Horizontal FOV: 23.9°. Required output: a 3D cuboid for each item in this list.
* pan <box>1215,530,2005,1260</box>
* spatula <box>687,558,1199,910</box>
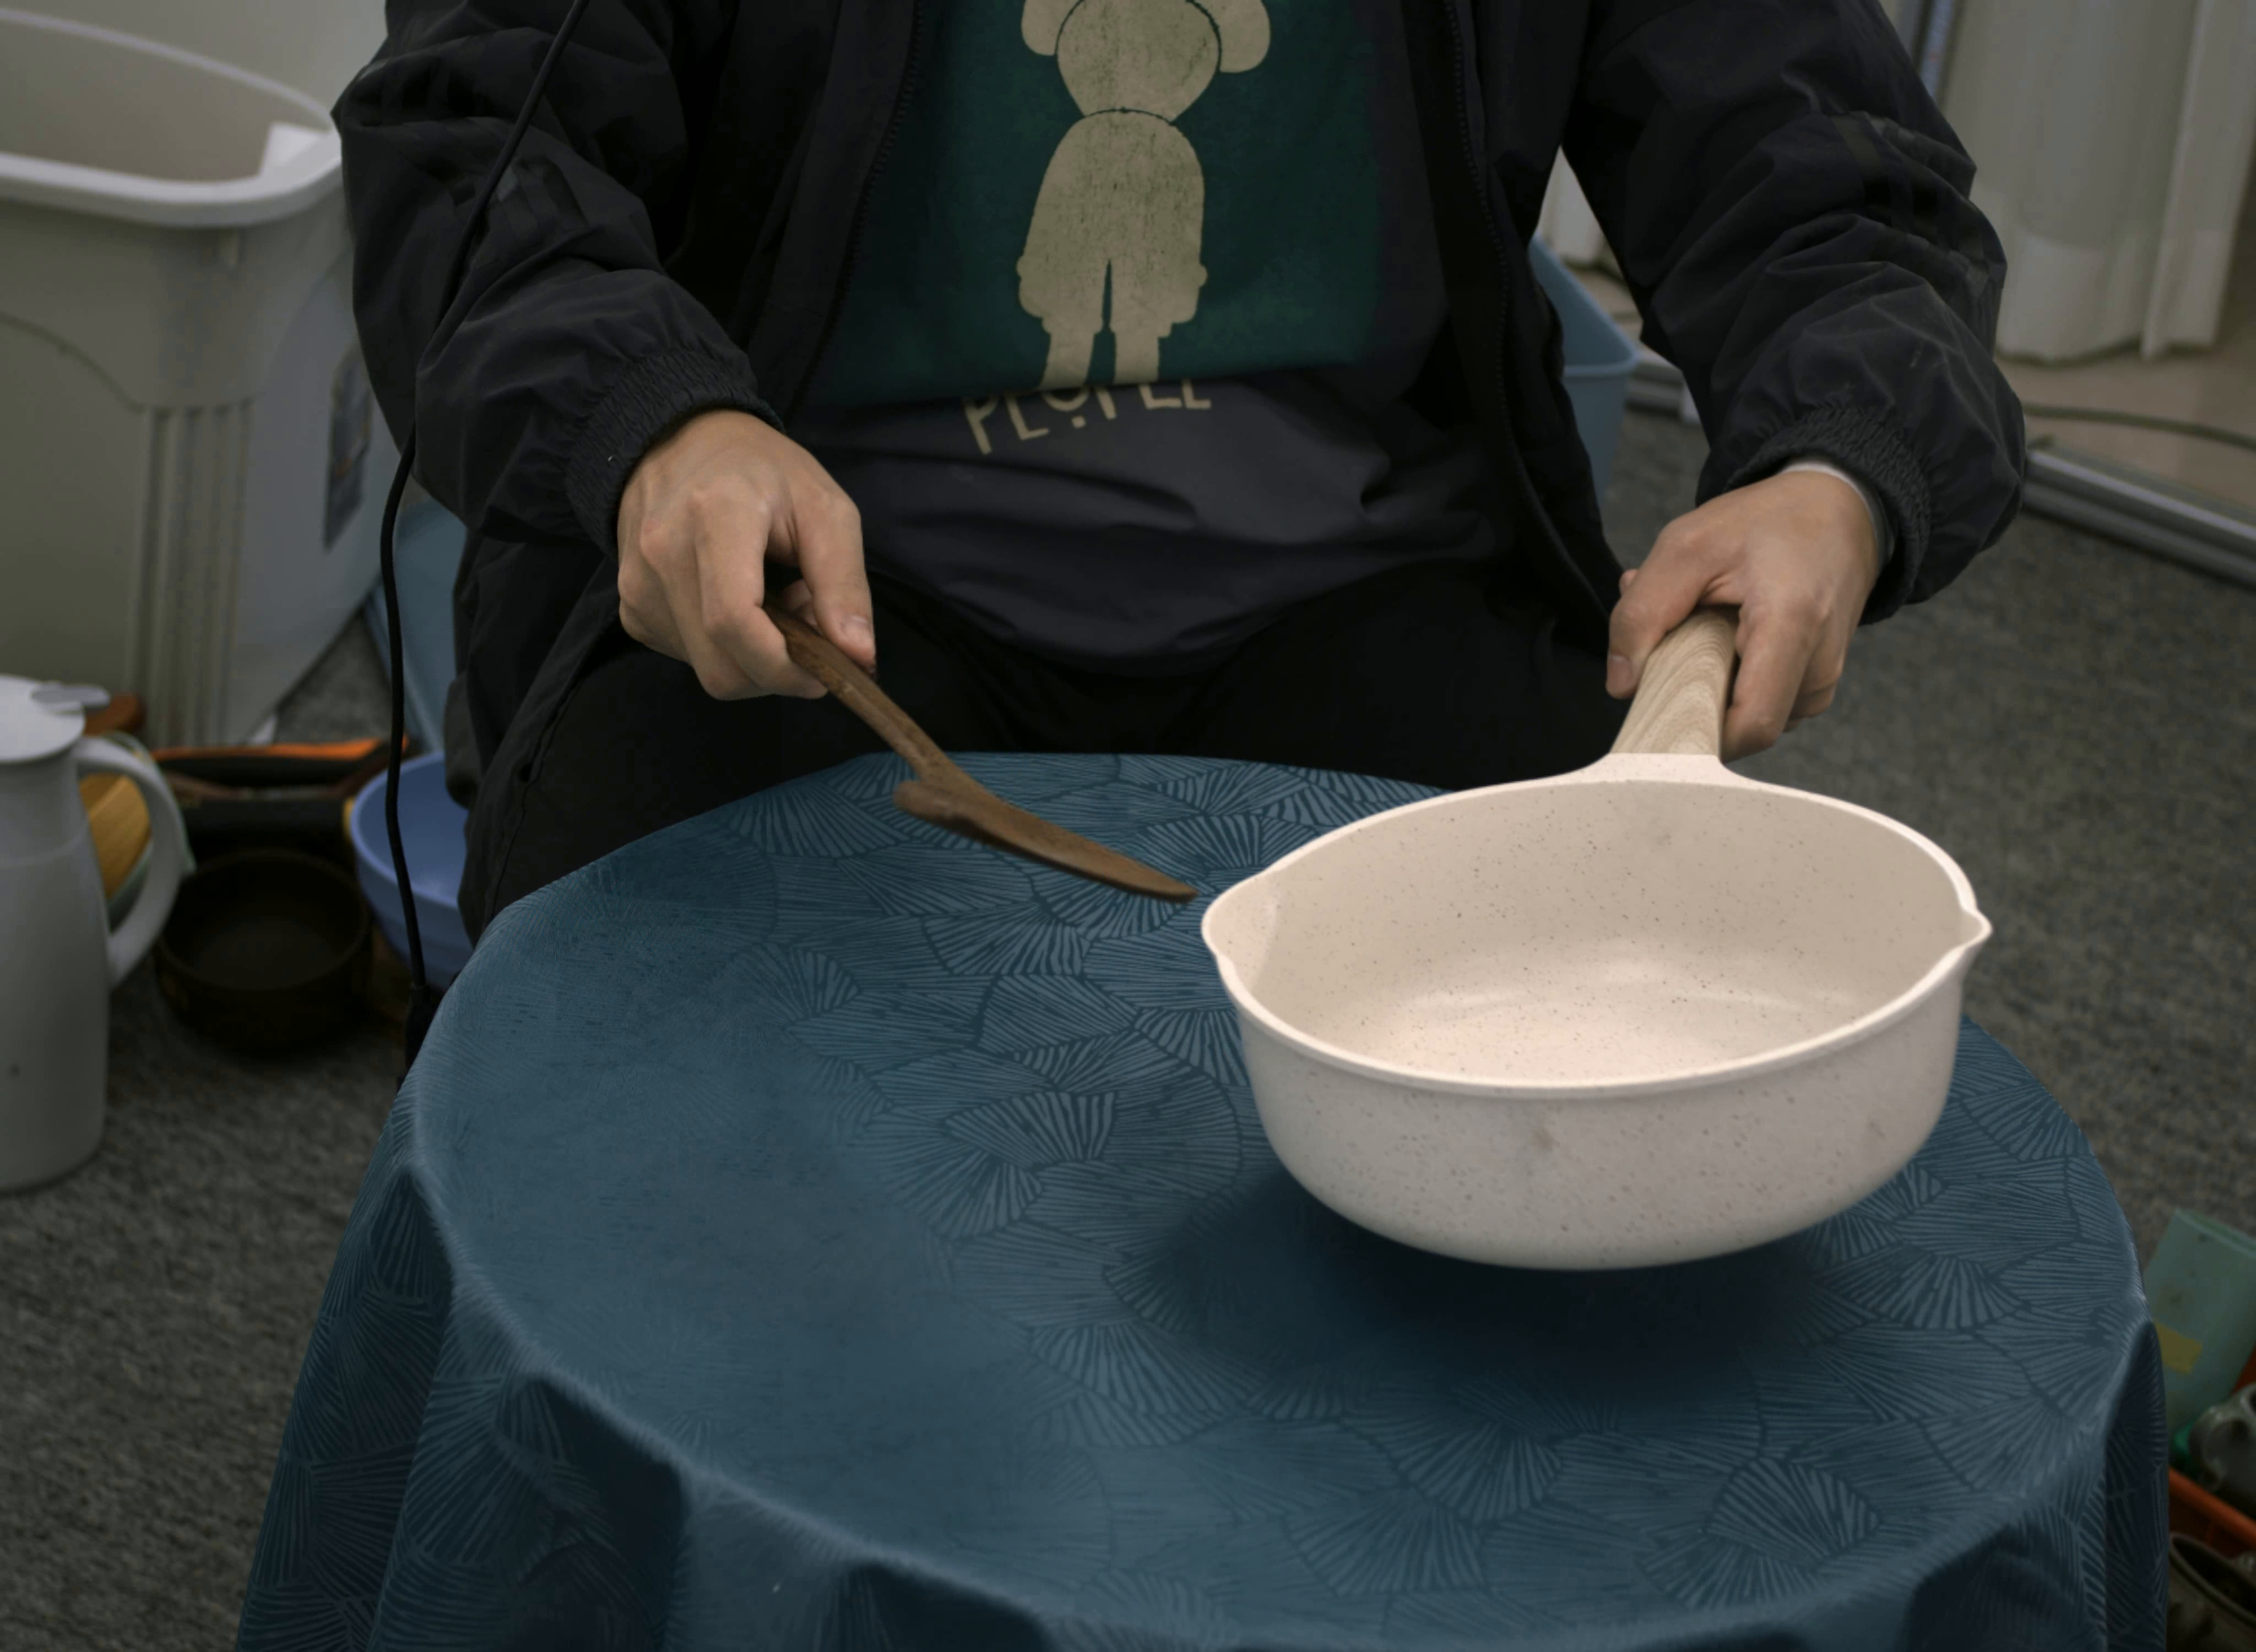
[{"bbox_3d":[0.183,0.021,1.849,0.263,0.101,0.436,-1,23,16],"label":"pan"},{"bbox_3d":[-0.084,-0.039,1.815,0.095,0.016,0.389,20,9,-27],"label":"spatula"}]
